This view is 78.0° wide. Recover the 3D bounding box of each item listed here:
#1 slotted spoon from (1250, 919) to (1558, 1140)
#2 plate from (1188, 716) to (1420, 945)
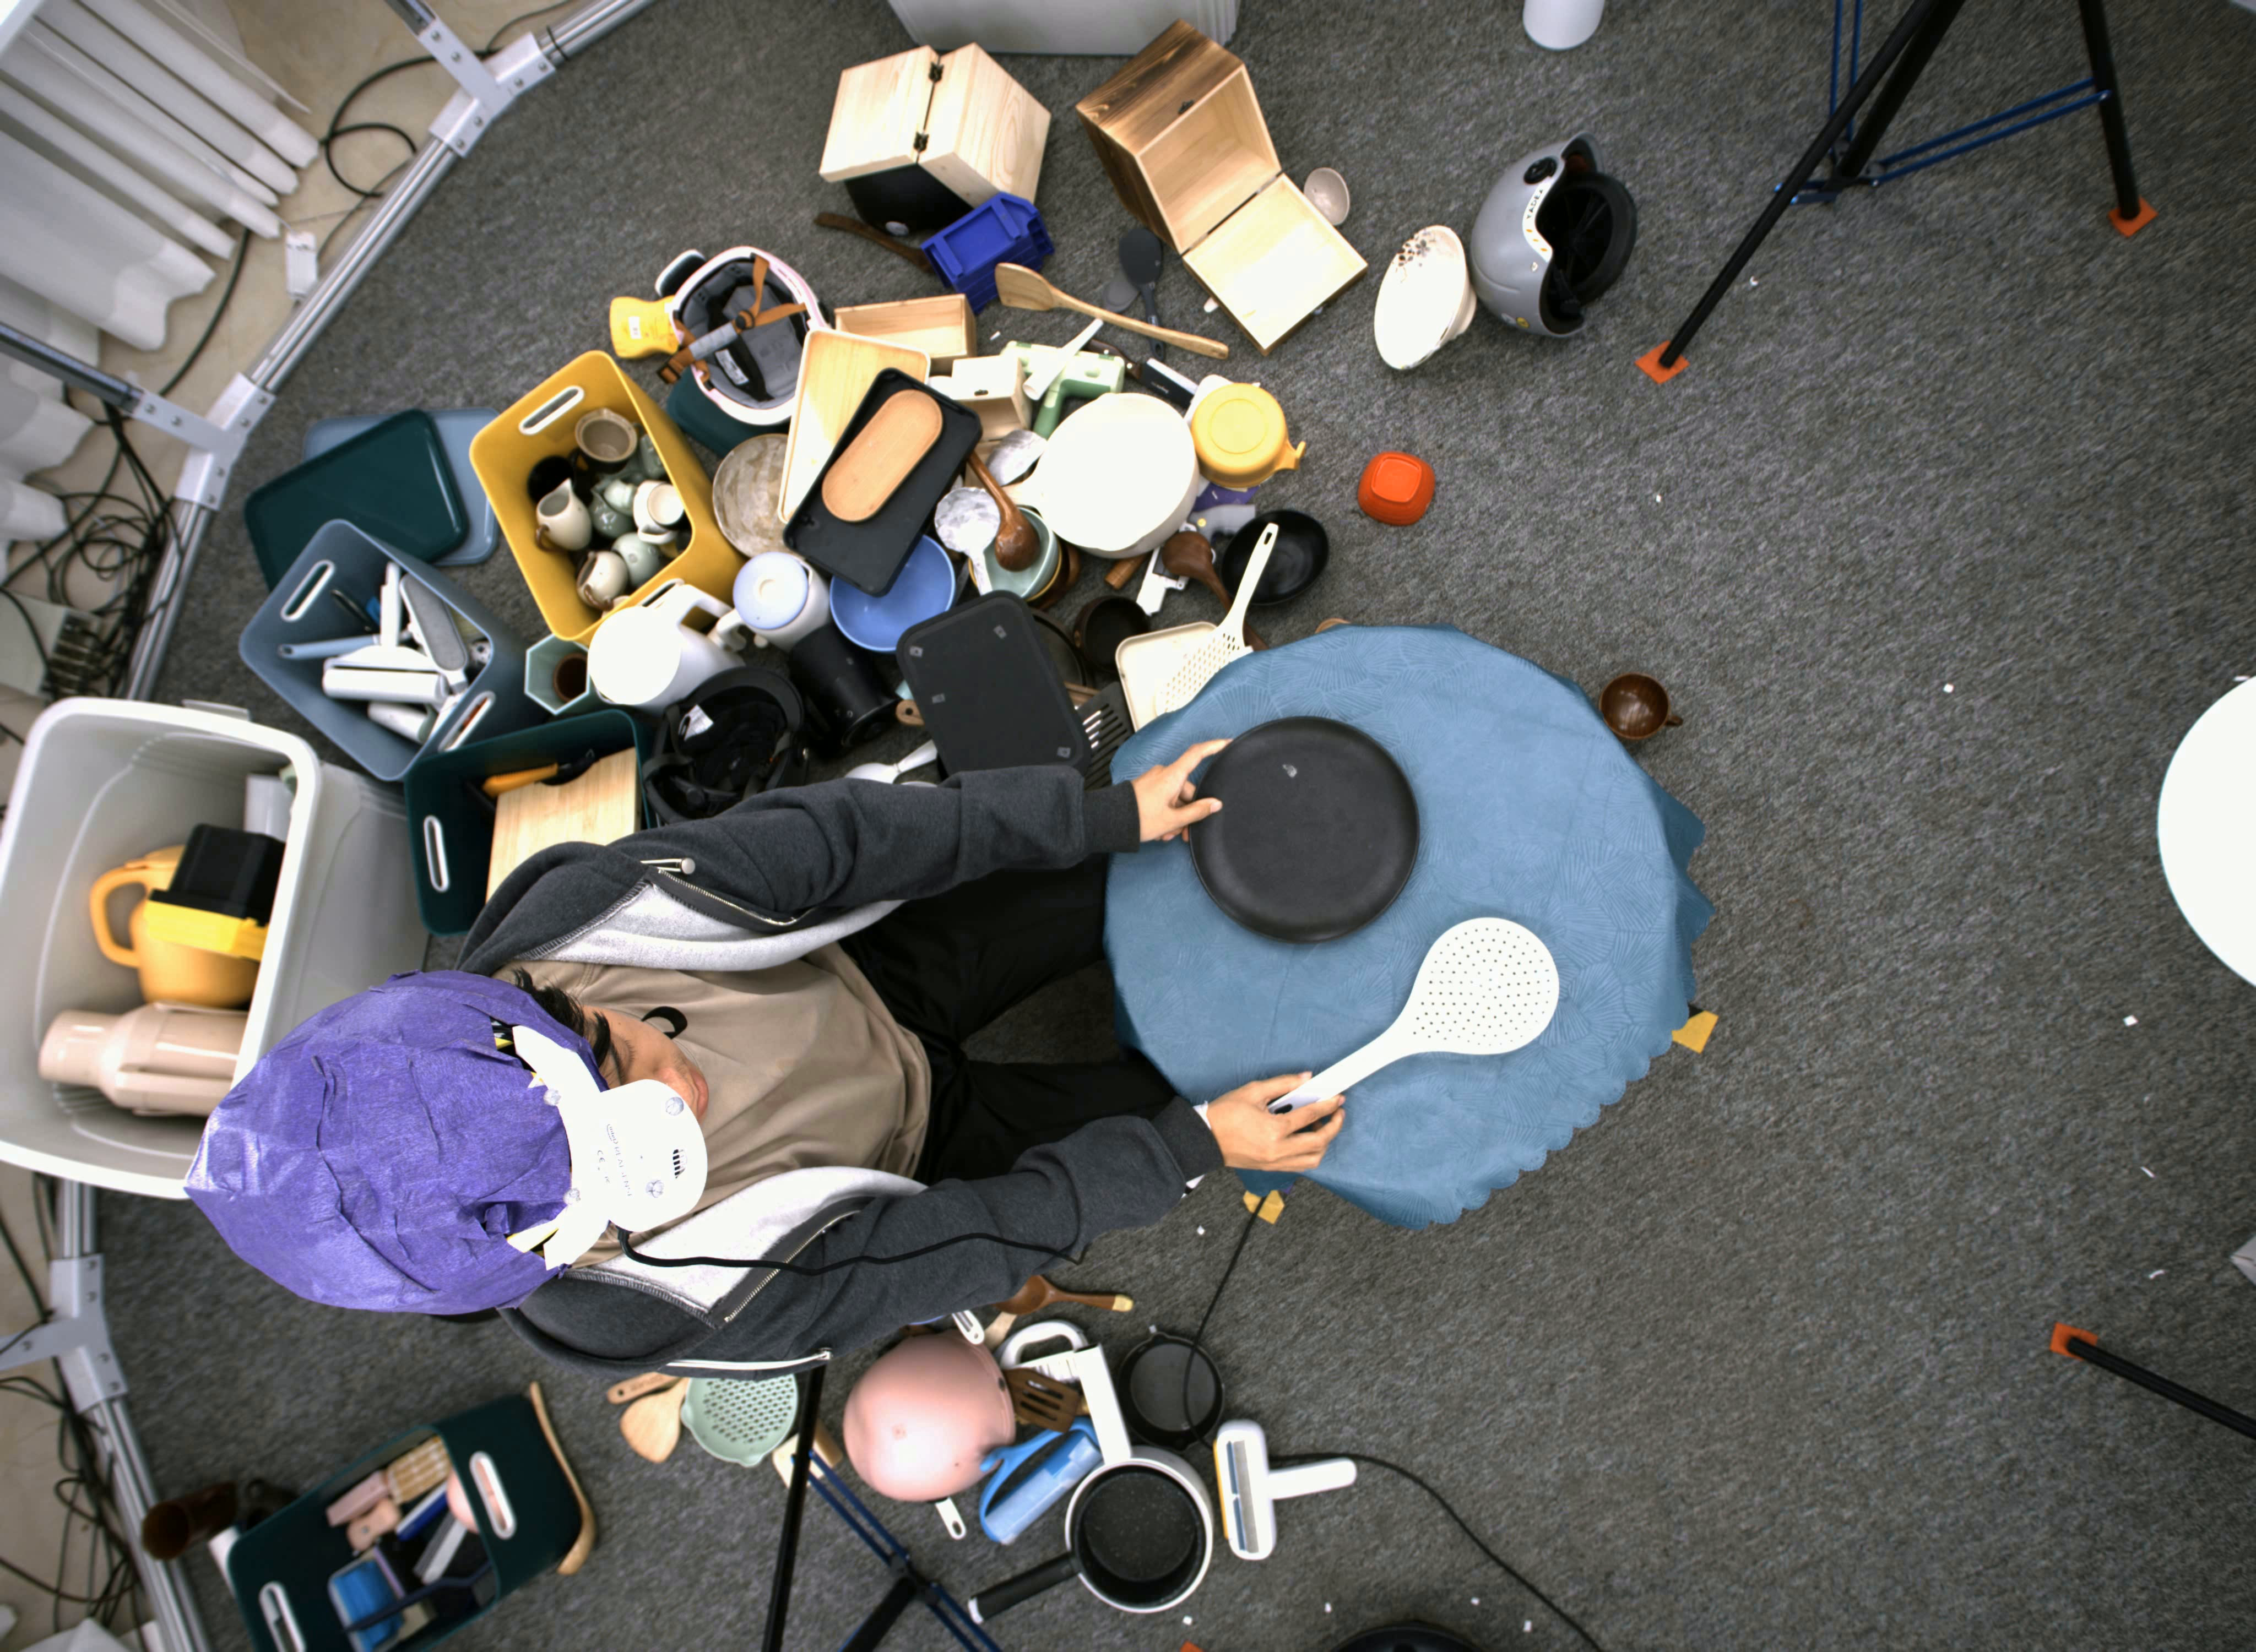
[{"bbox_3d":[0.278,0.220,1.419,0.351,0.046,0.134,-32,69,5],"label":"slotted spoon"},{"bbox_3d":[0.185,0.004,1.465,0.245,0.023,0.243,-1,87,9],"label":"plate"}]
